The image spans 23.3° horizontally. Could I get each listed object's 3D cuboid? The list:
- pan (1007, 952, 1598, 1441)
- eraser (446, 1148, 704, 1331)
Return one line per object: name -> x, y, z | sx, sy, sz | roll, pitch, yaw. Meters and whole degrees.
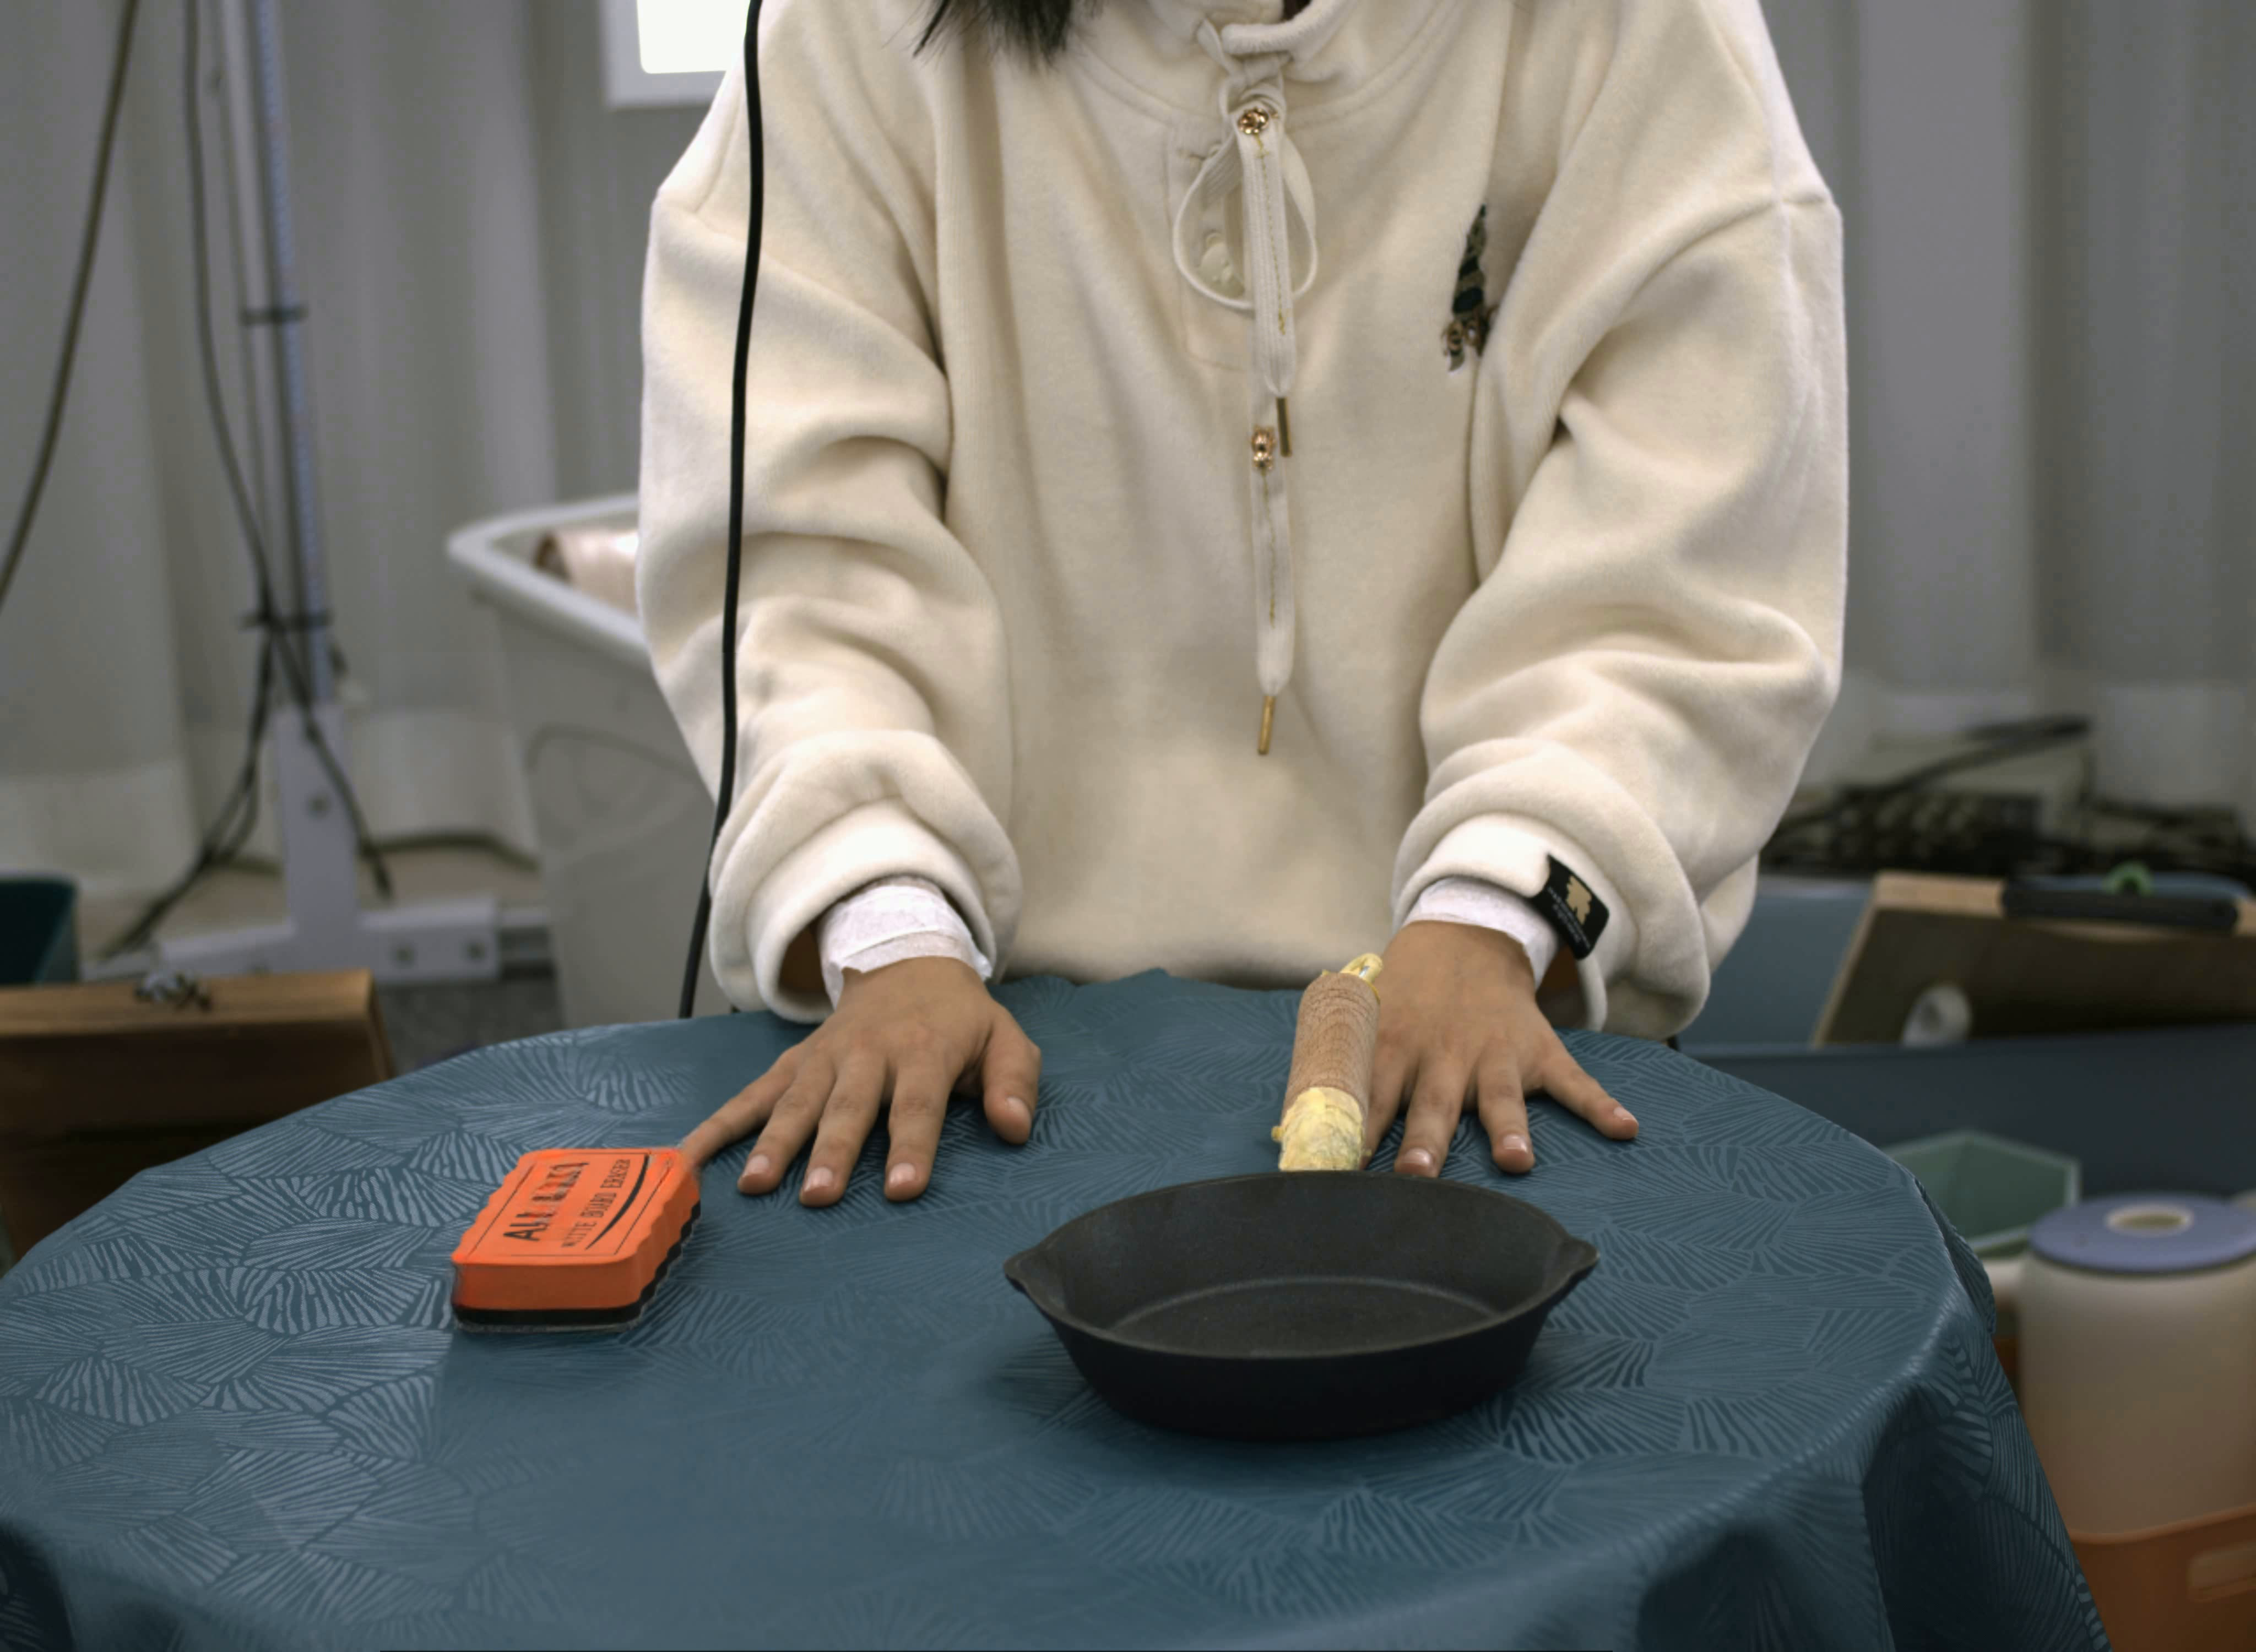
pan -> 0.058, 0.107, 1.633 | 0.168, 0.049, 0.326 | -2, 16, 7
eraser -> -0.167, 0.125, 1.662 | 0.059, 0.023, 0.108 | 0, 15, 9
